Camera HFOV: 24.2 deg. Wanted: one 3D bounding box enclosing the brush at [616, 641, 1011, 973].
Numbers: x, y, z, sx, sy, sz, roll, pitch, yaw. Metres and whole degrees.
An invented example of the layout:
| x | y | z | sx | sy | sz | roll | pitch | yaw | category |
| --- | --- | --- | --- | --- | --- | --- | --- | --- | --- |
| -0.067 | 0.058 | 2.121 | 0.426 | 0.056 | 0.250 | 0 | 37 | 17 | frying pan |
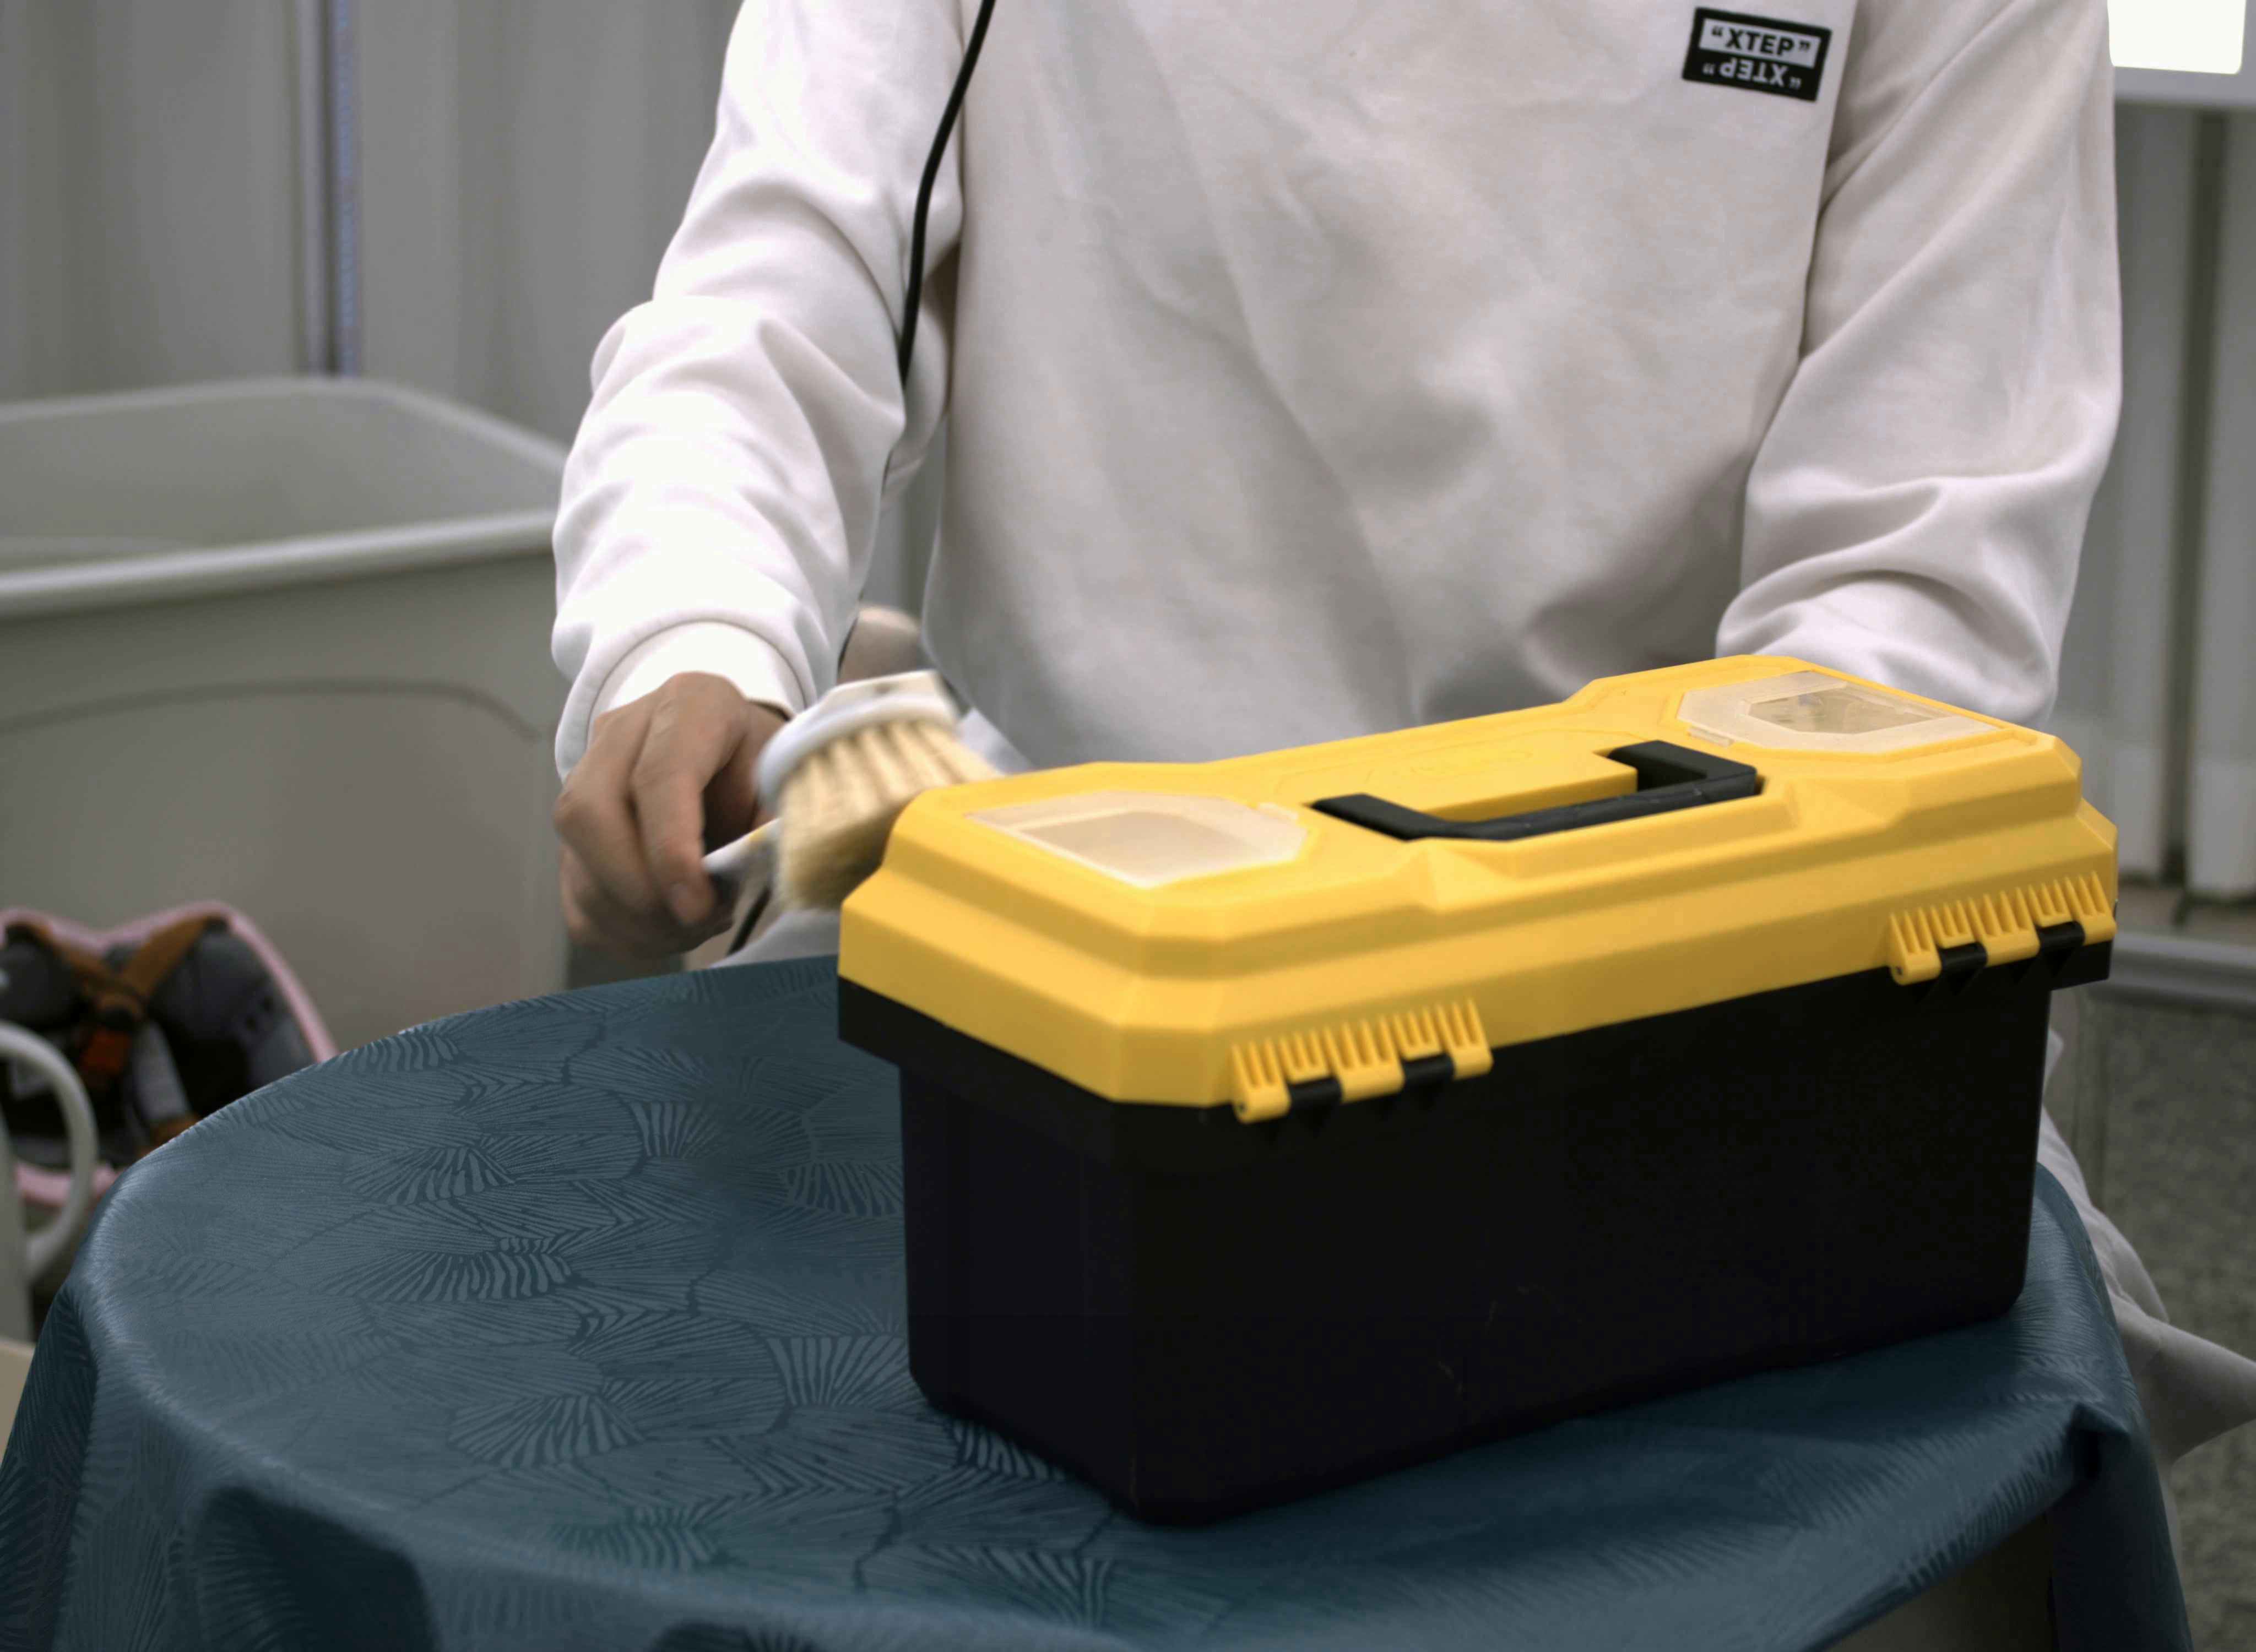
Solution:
| x | y | z | sx | sy | sz | roll | pitch | yaw | category |
| --- | --- | --- | --- | --- | --- | --- | --- | --- | --- |
| -0.100 | 0.019 | 1.548 | 0.069 | 0.056 | 0.266 | 3 | -22 | -22 | brush |

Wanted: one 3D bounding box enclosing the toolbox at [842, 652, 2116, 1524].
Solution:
| x | y | z | sx | sy | sz | roll | pitch | yaw | category |
| --- | --- | --- | --- | --- | --- | --- | --- | --- | --- |
| 0.101 | 0.065 | 1.478 | 0.353 | 0.174 | 0.179 | -9 | 20 | -34 | toolbox |
